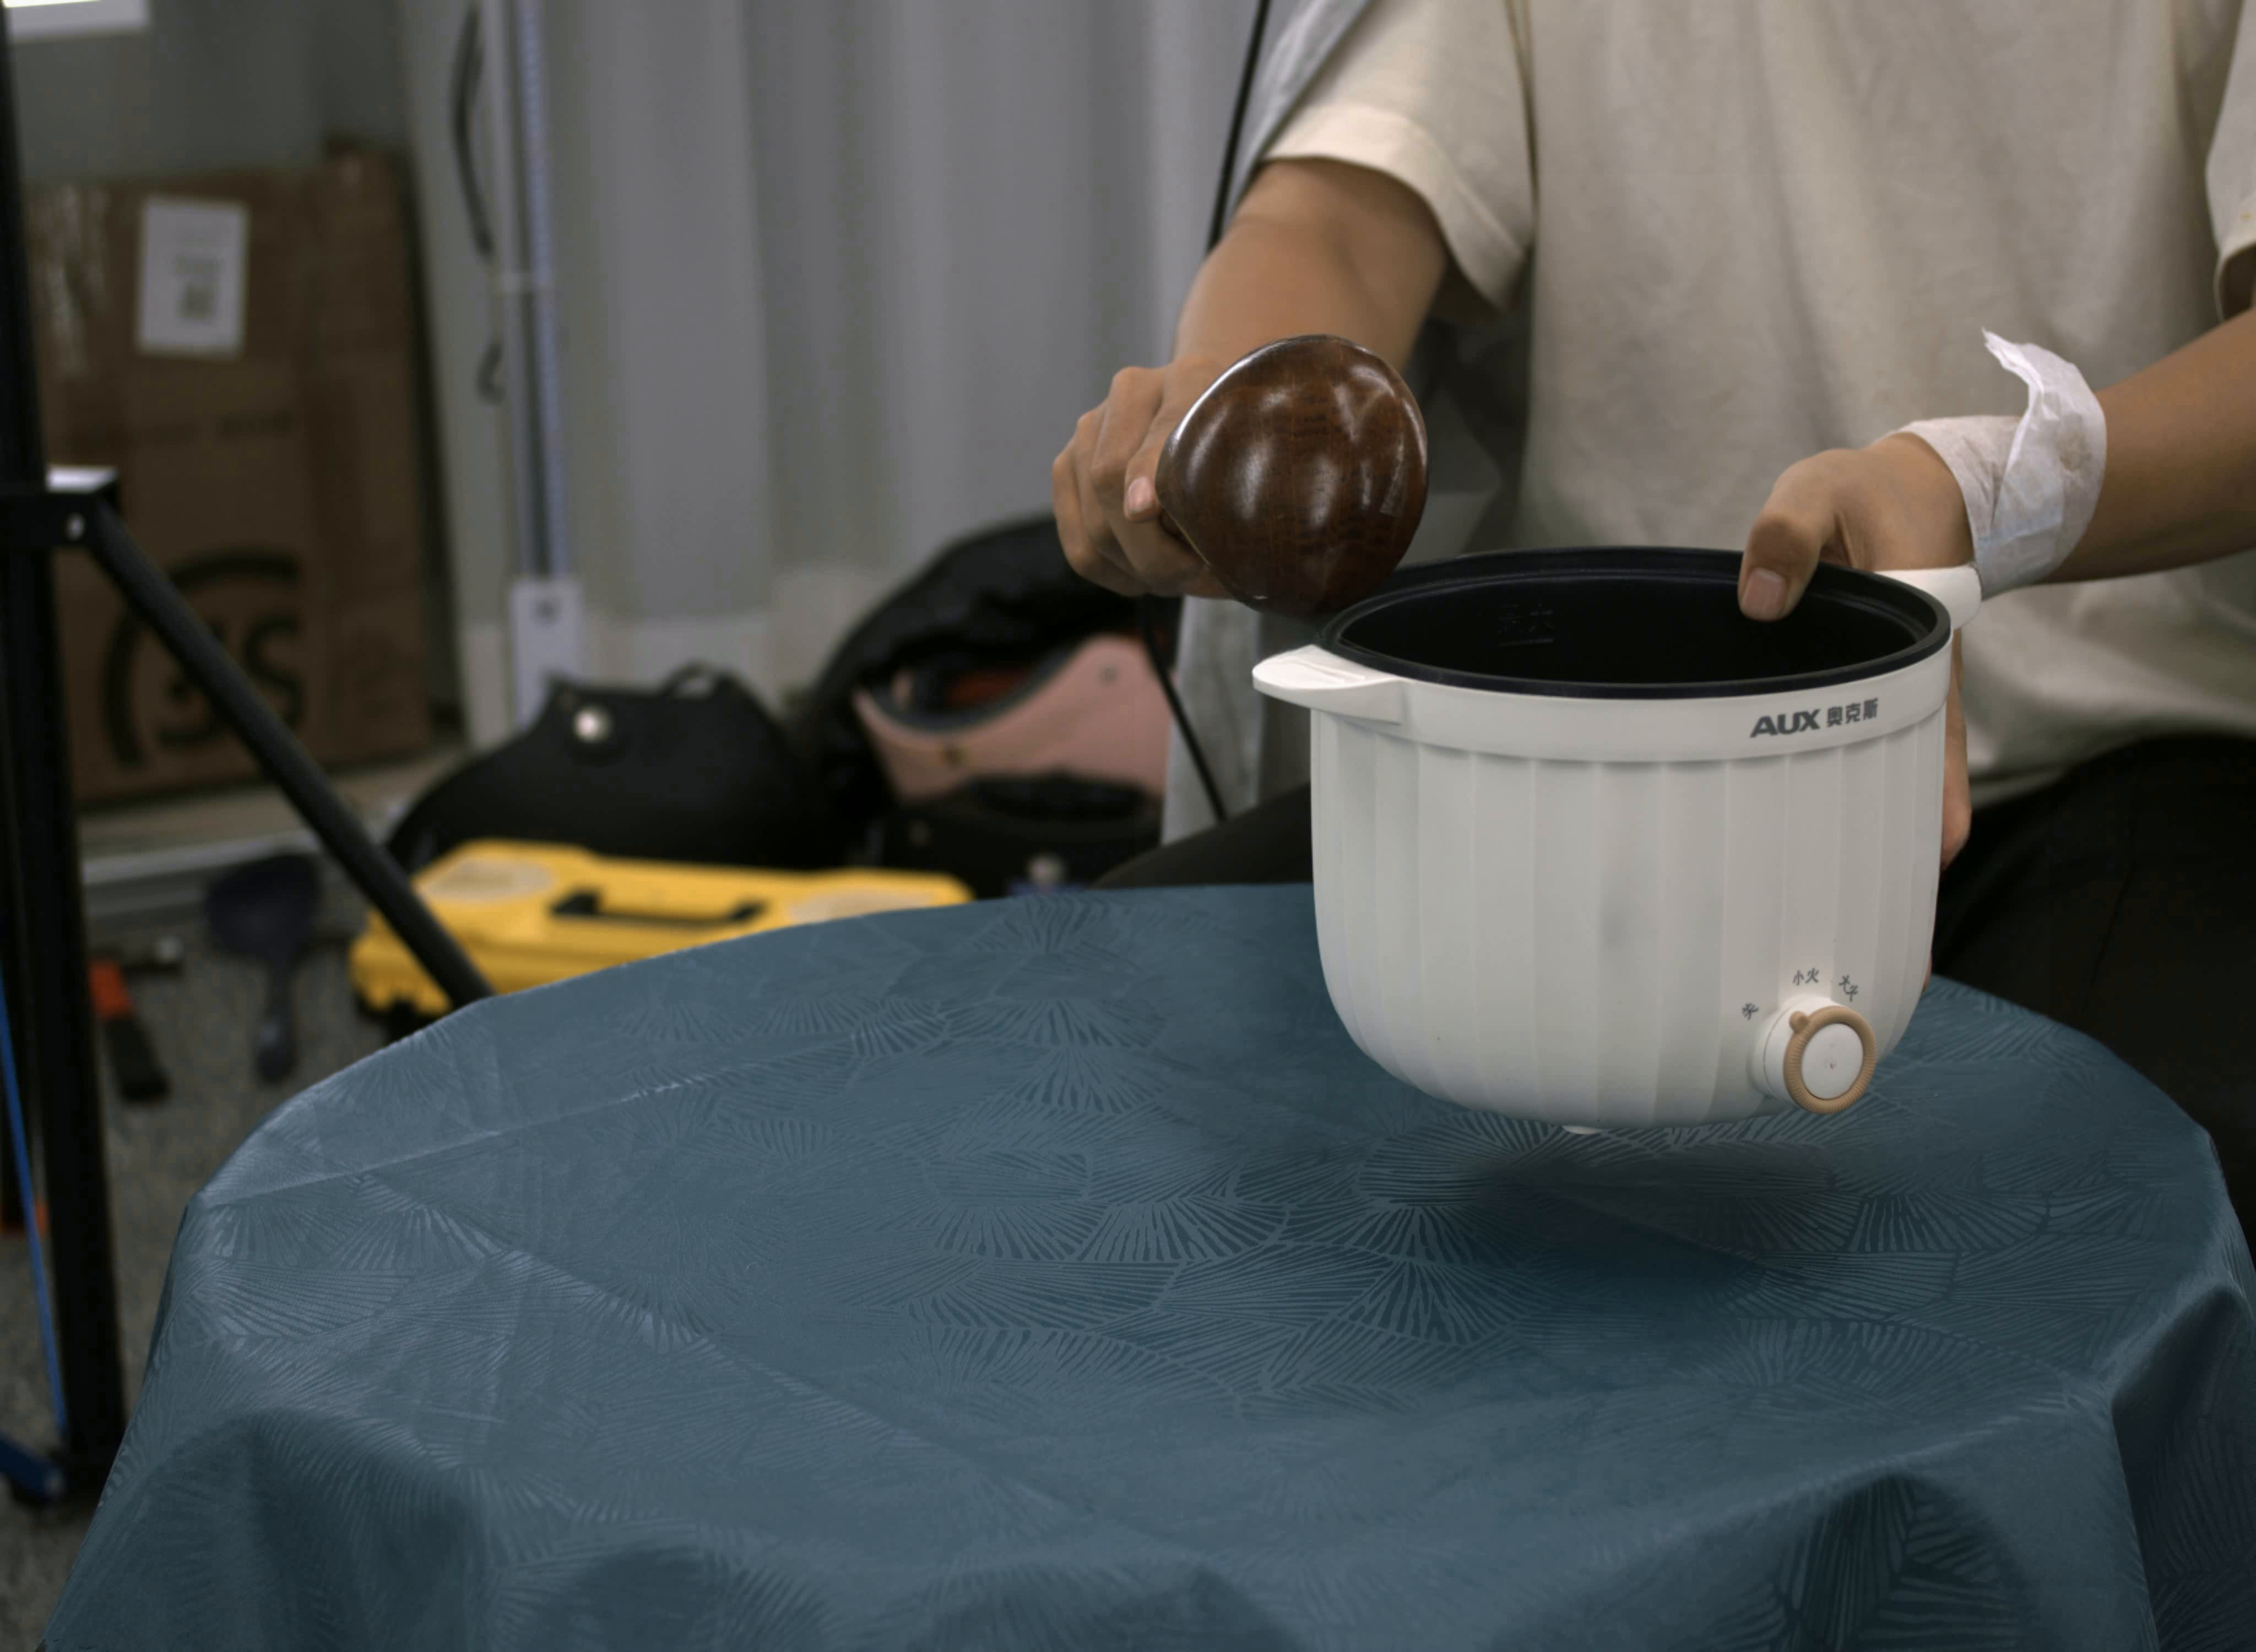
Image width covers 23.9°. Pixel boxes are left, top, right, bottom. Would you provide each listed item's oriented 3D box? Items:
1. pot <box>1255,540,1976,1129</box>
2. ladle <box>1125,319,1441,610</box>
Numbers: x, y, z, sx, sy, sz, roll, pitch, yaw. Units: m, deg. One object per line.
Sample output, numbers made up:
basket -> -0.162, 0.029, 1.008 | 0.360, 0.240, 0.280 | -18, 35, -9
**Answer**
pot -> 0.145, 0.004, 1.500 | 0.235, 0.143, 0.194 | -10, 13, -27
ladle -> 0.044, -0.098, 1.596 | 0.076, 0.082, 0.274 | 15, -3, -1
